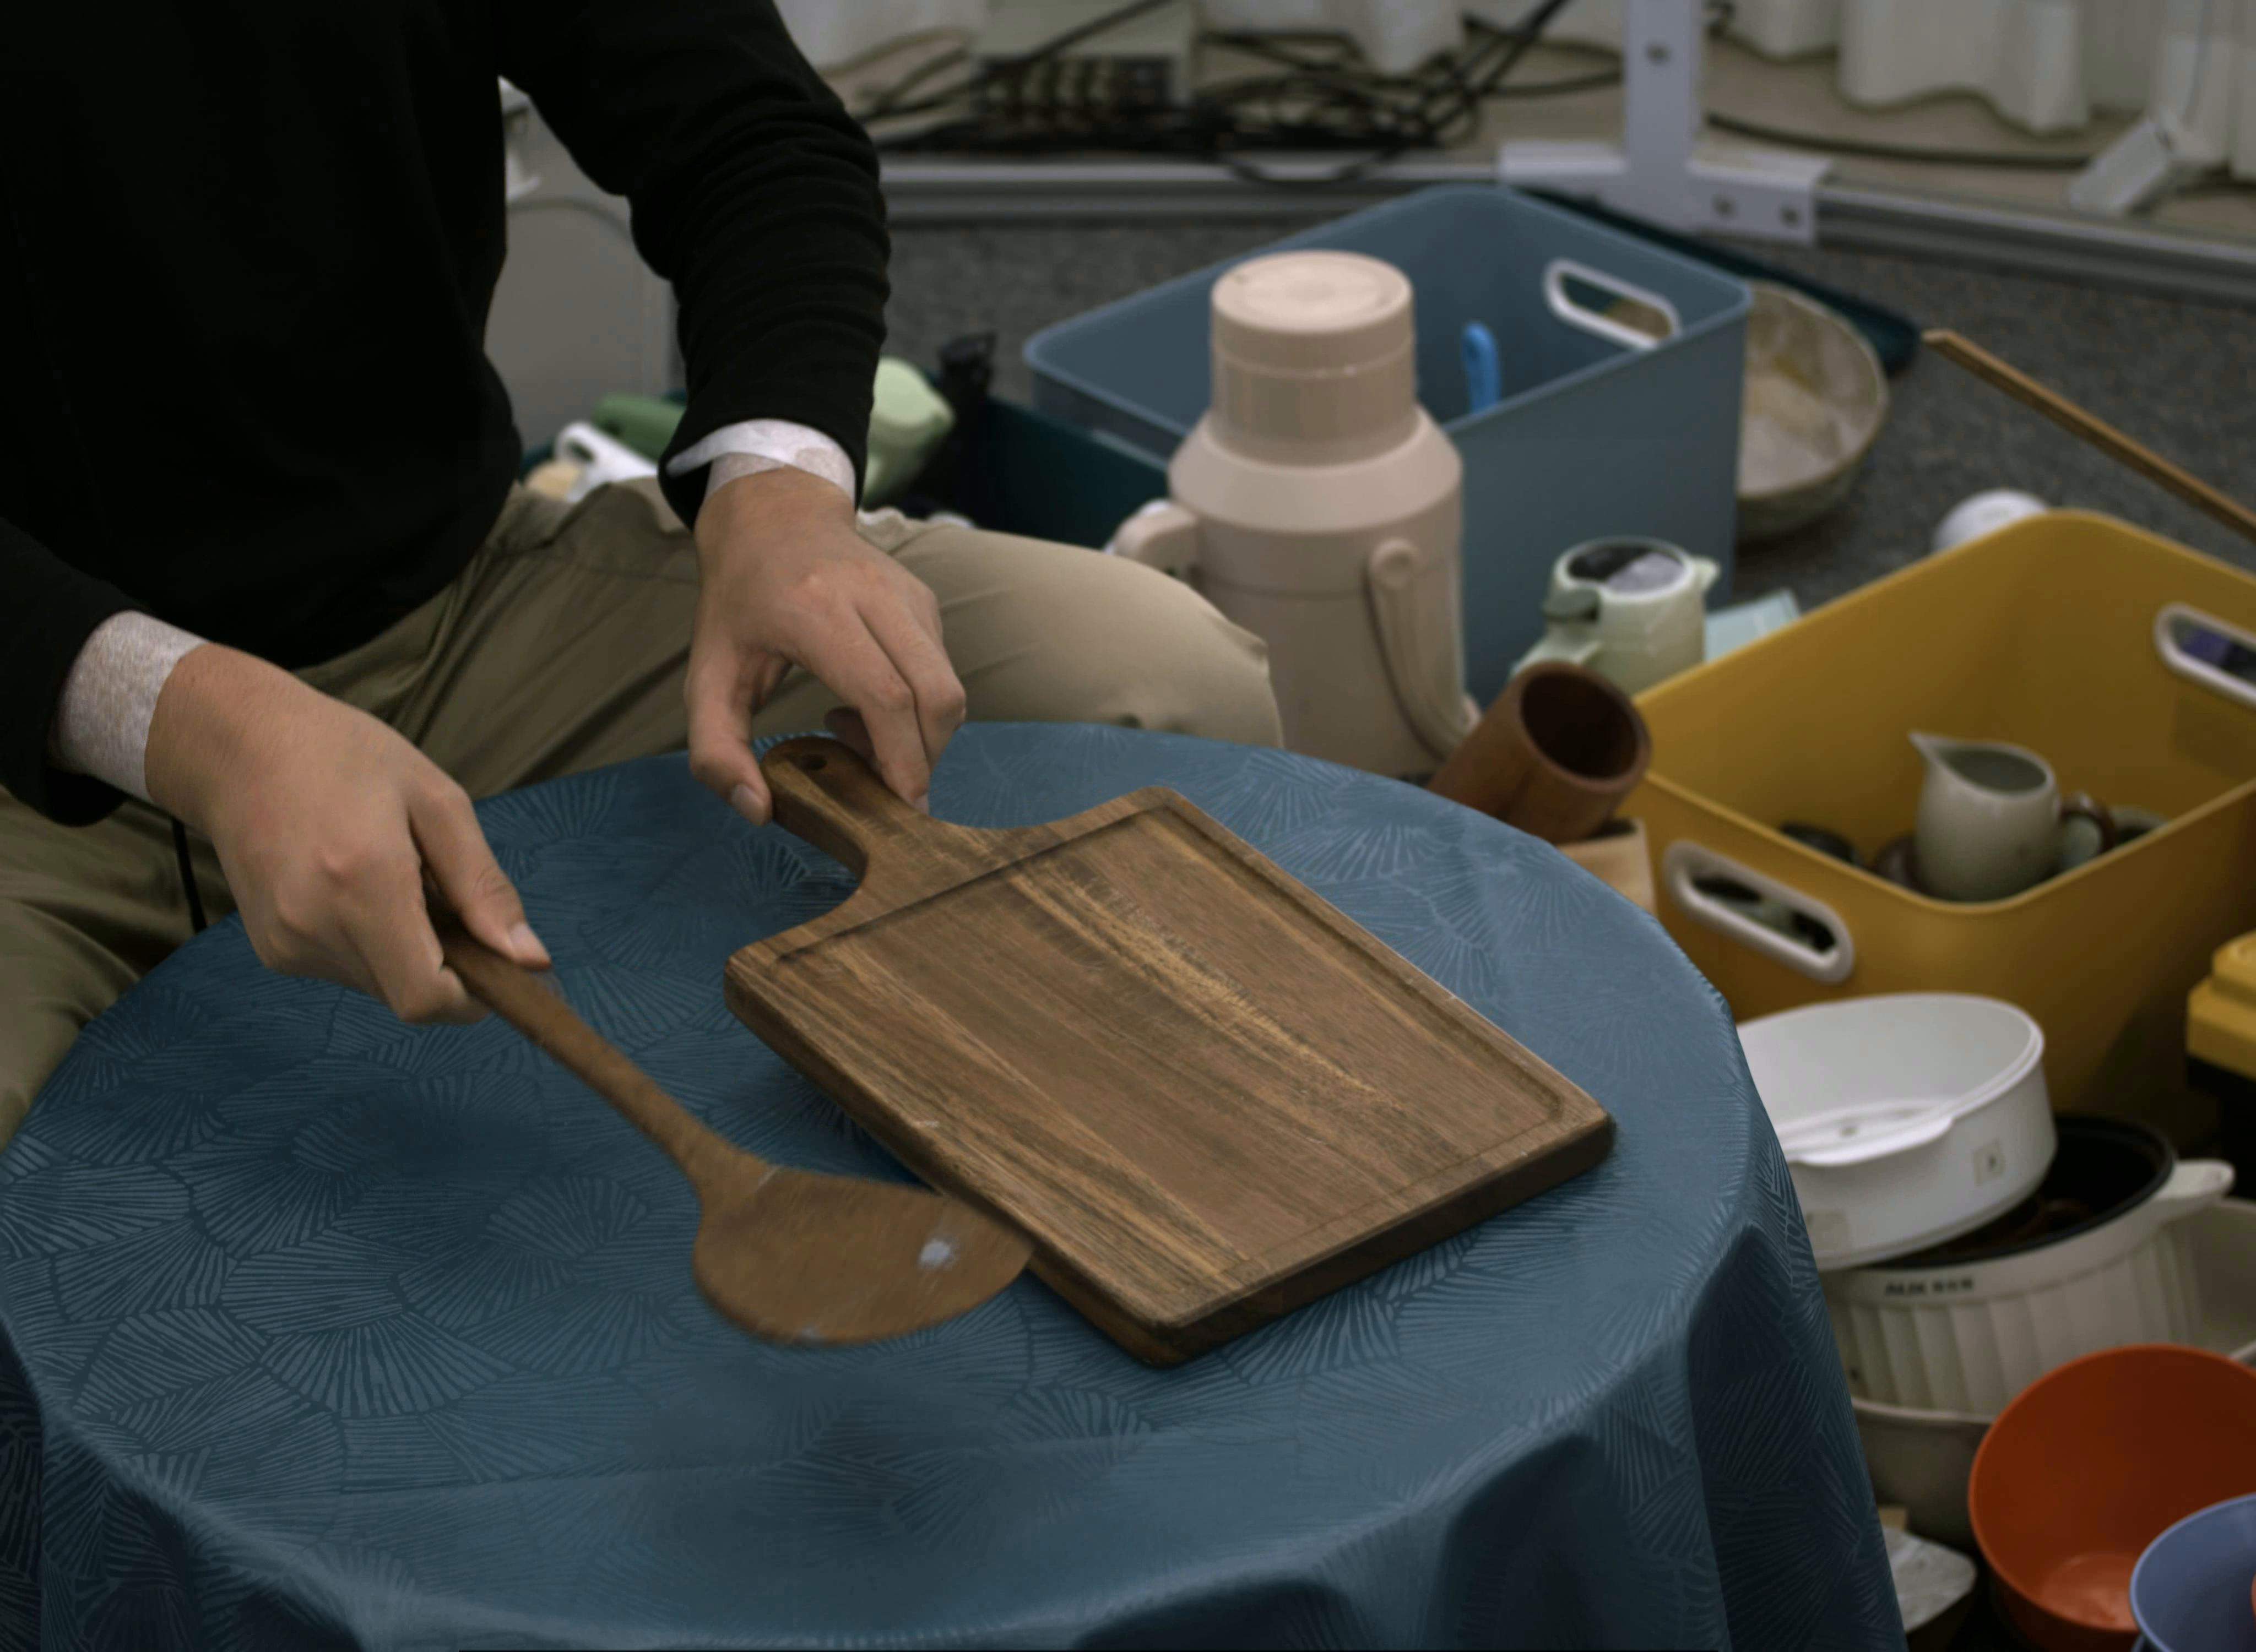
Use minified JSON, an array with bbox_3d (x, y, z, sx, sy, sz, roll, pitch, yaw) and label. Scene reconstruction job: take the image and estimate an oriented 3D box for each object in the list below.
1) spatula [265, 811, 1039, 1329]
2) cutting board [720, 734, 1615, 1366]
[{"bbox_3d":[-0.172,0.070,1.793,0.097,0.015,0.387,-16,33,-35],"label":"spatula"},{"bbox_3d":[-0.019,0.055,1.923,0.203,0.023,0.353,-22,40,-32],"label":"cutting board"}]
